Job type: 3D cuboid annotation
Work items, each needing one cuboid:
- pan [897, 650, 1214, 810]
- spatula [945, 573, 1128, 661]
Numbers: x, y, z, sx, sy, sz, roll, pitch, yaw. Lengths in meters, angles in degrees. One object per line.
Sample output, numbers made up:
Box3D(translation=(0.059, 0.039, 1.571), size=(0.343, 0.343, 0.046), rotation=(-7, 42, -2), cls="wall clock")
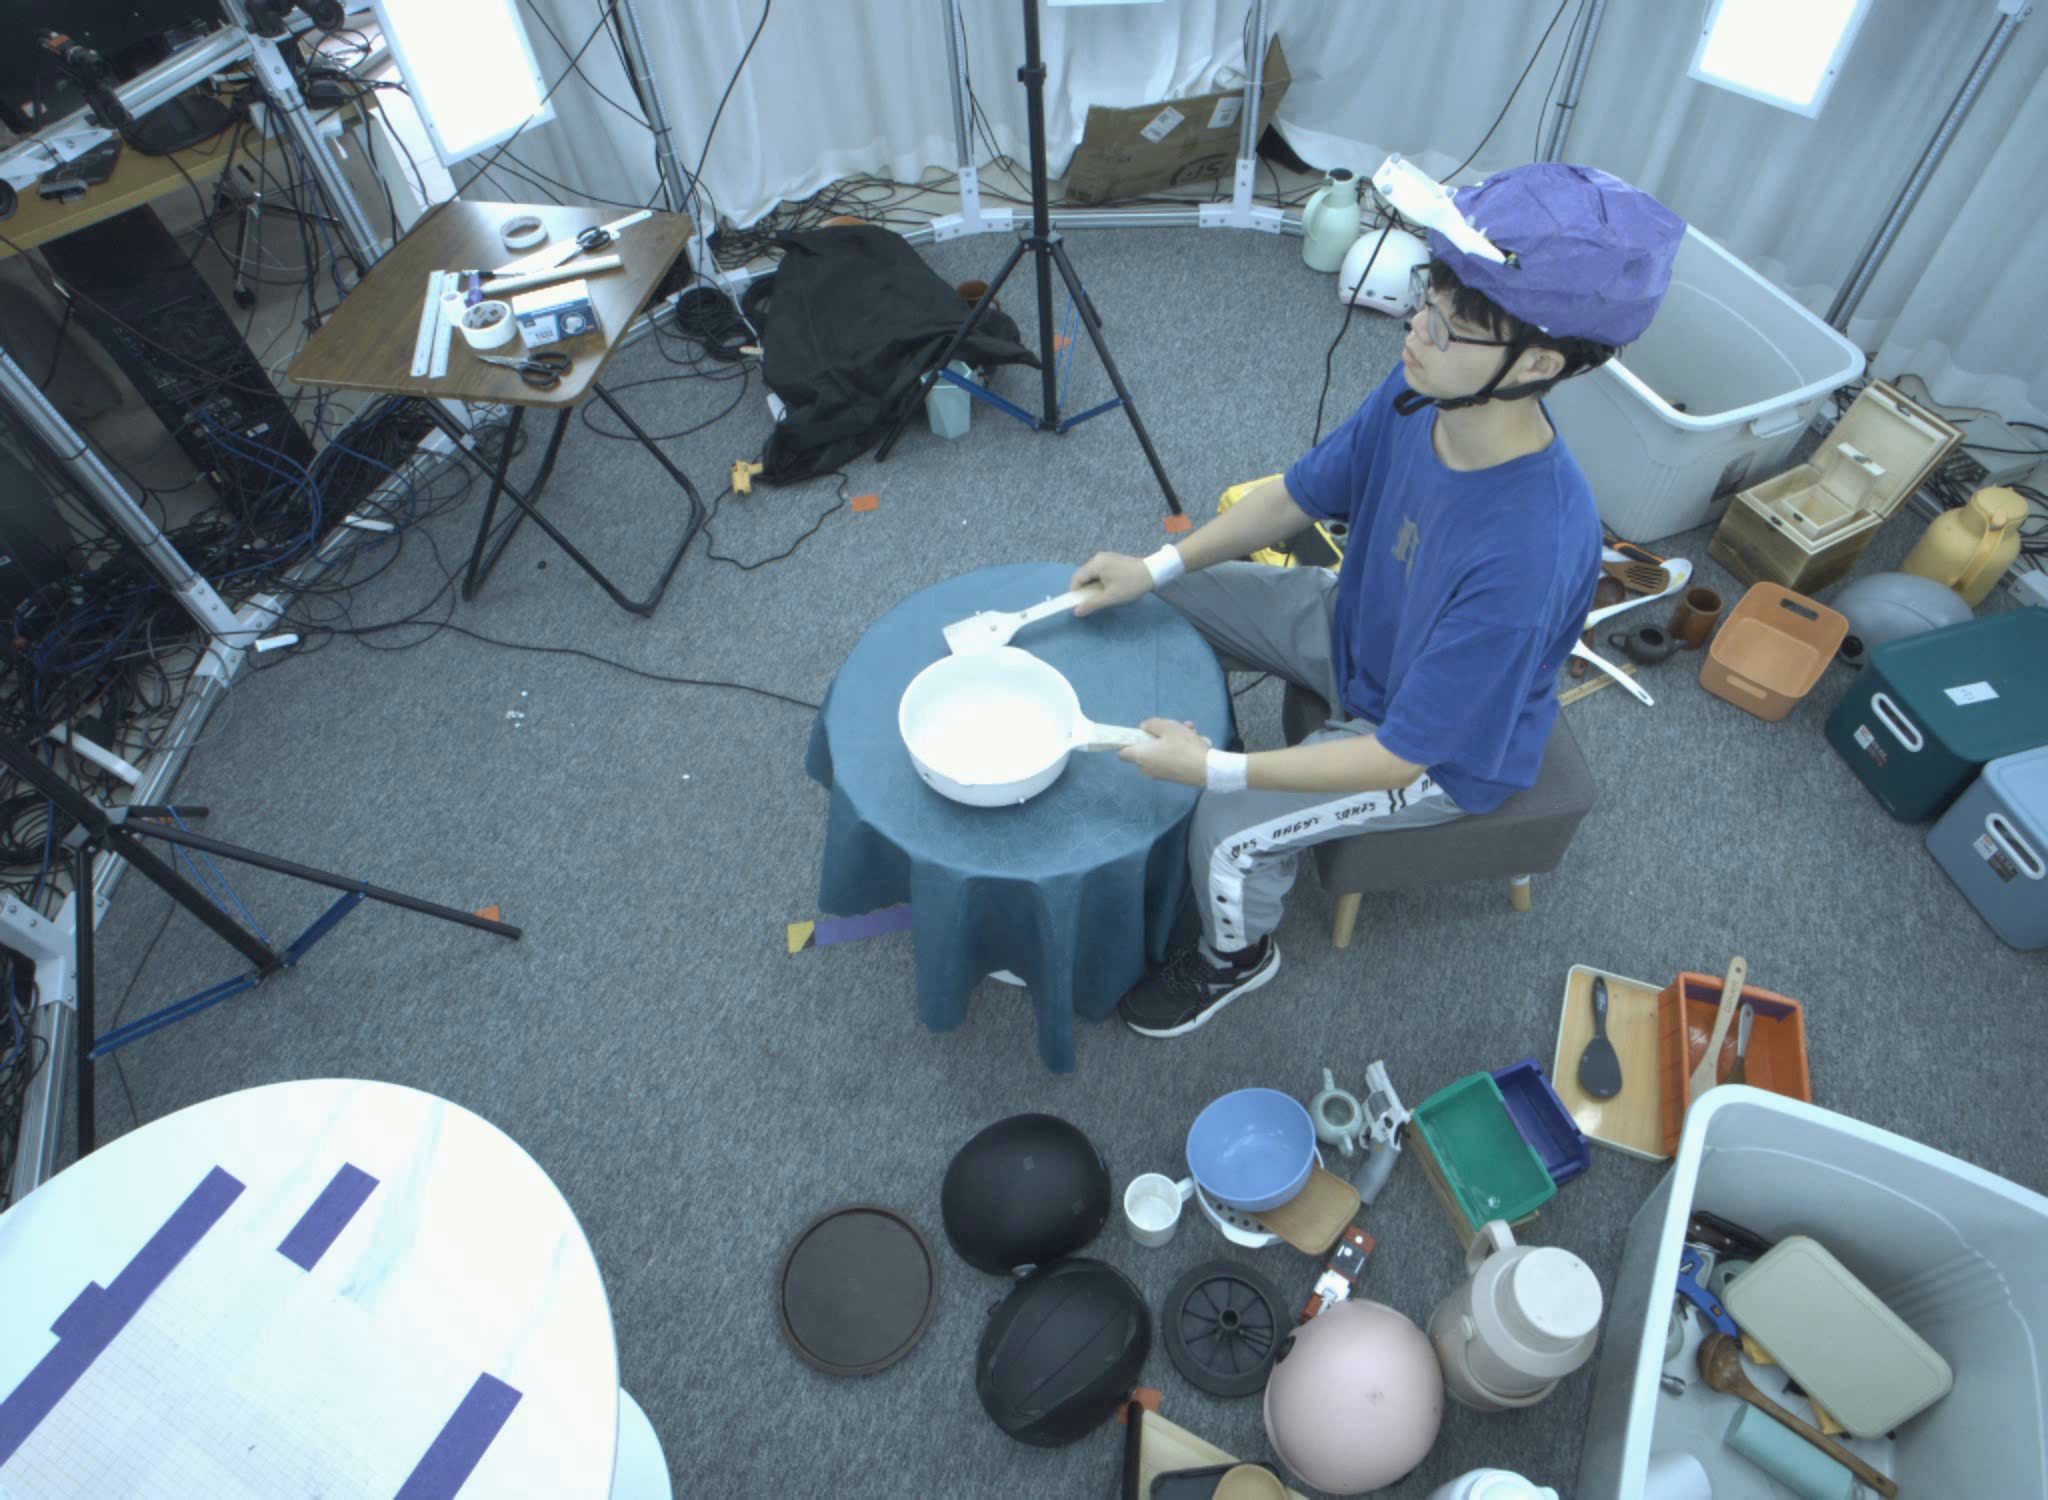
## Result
Box3D(translation=(0.040, -0.010, 1.705), size=(0.433, 0.103, 0.262), rotation=(10, 49, 6), cls="pan")
Box3D(translation=(0.024, -0.213, 1.885), size=(0.294, 0.011, 0.071), rotation=(-22, 63, -8), cls="spatula")
